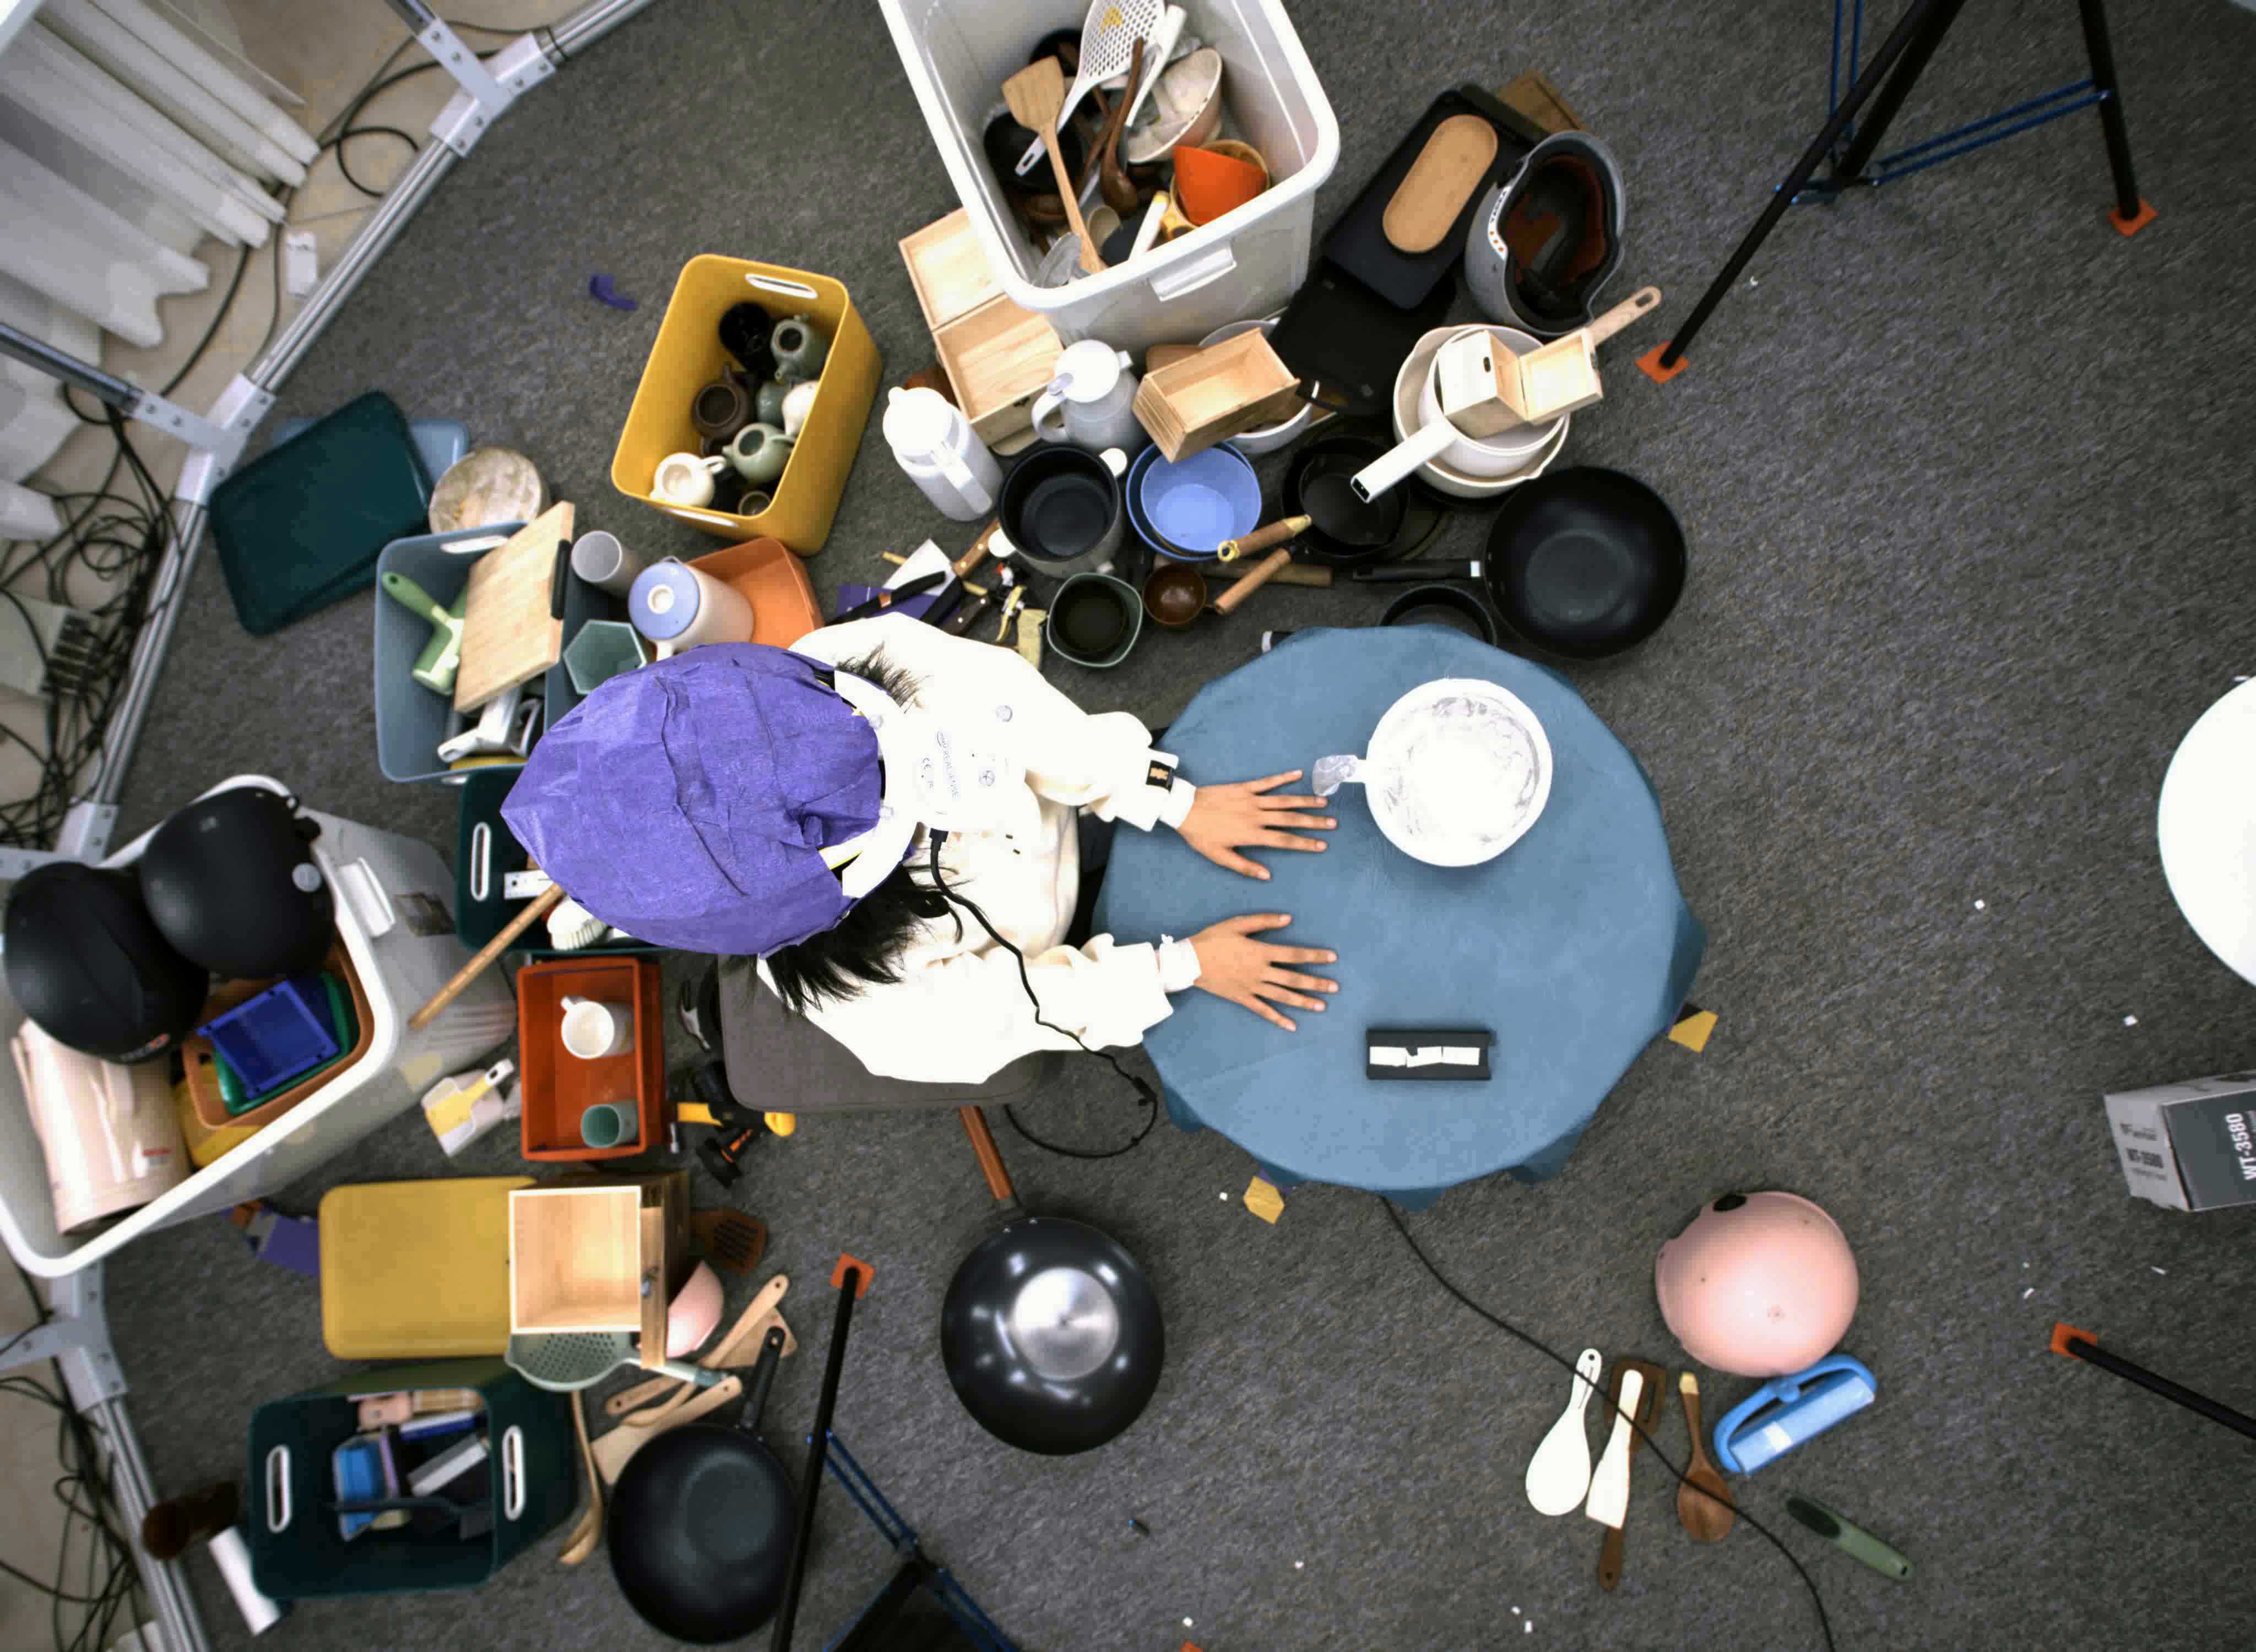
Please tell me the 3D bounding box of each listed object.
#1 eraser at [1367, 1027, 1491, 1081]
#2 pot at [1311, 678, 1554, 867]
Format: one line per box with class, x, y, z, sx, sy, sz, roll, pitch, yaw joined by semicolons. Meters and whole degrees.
eraser;0.311;0.234;1.430;0.126;0.030;0.053;-1;85;12
pot;0.302;-0.051;1.390;0.234;0.137;0.178;0;86;10
